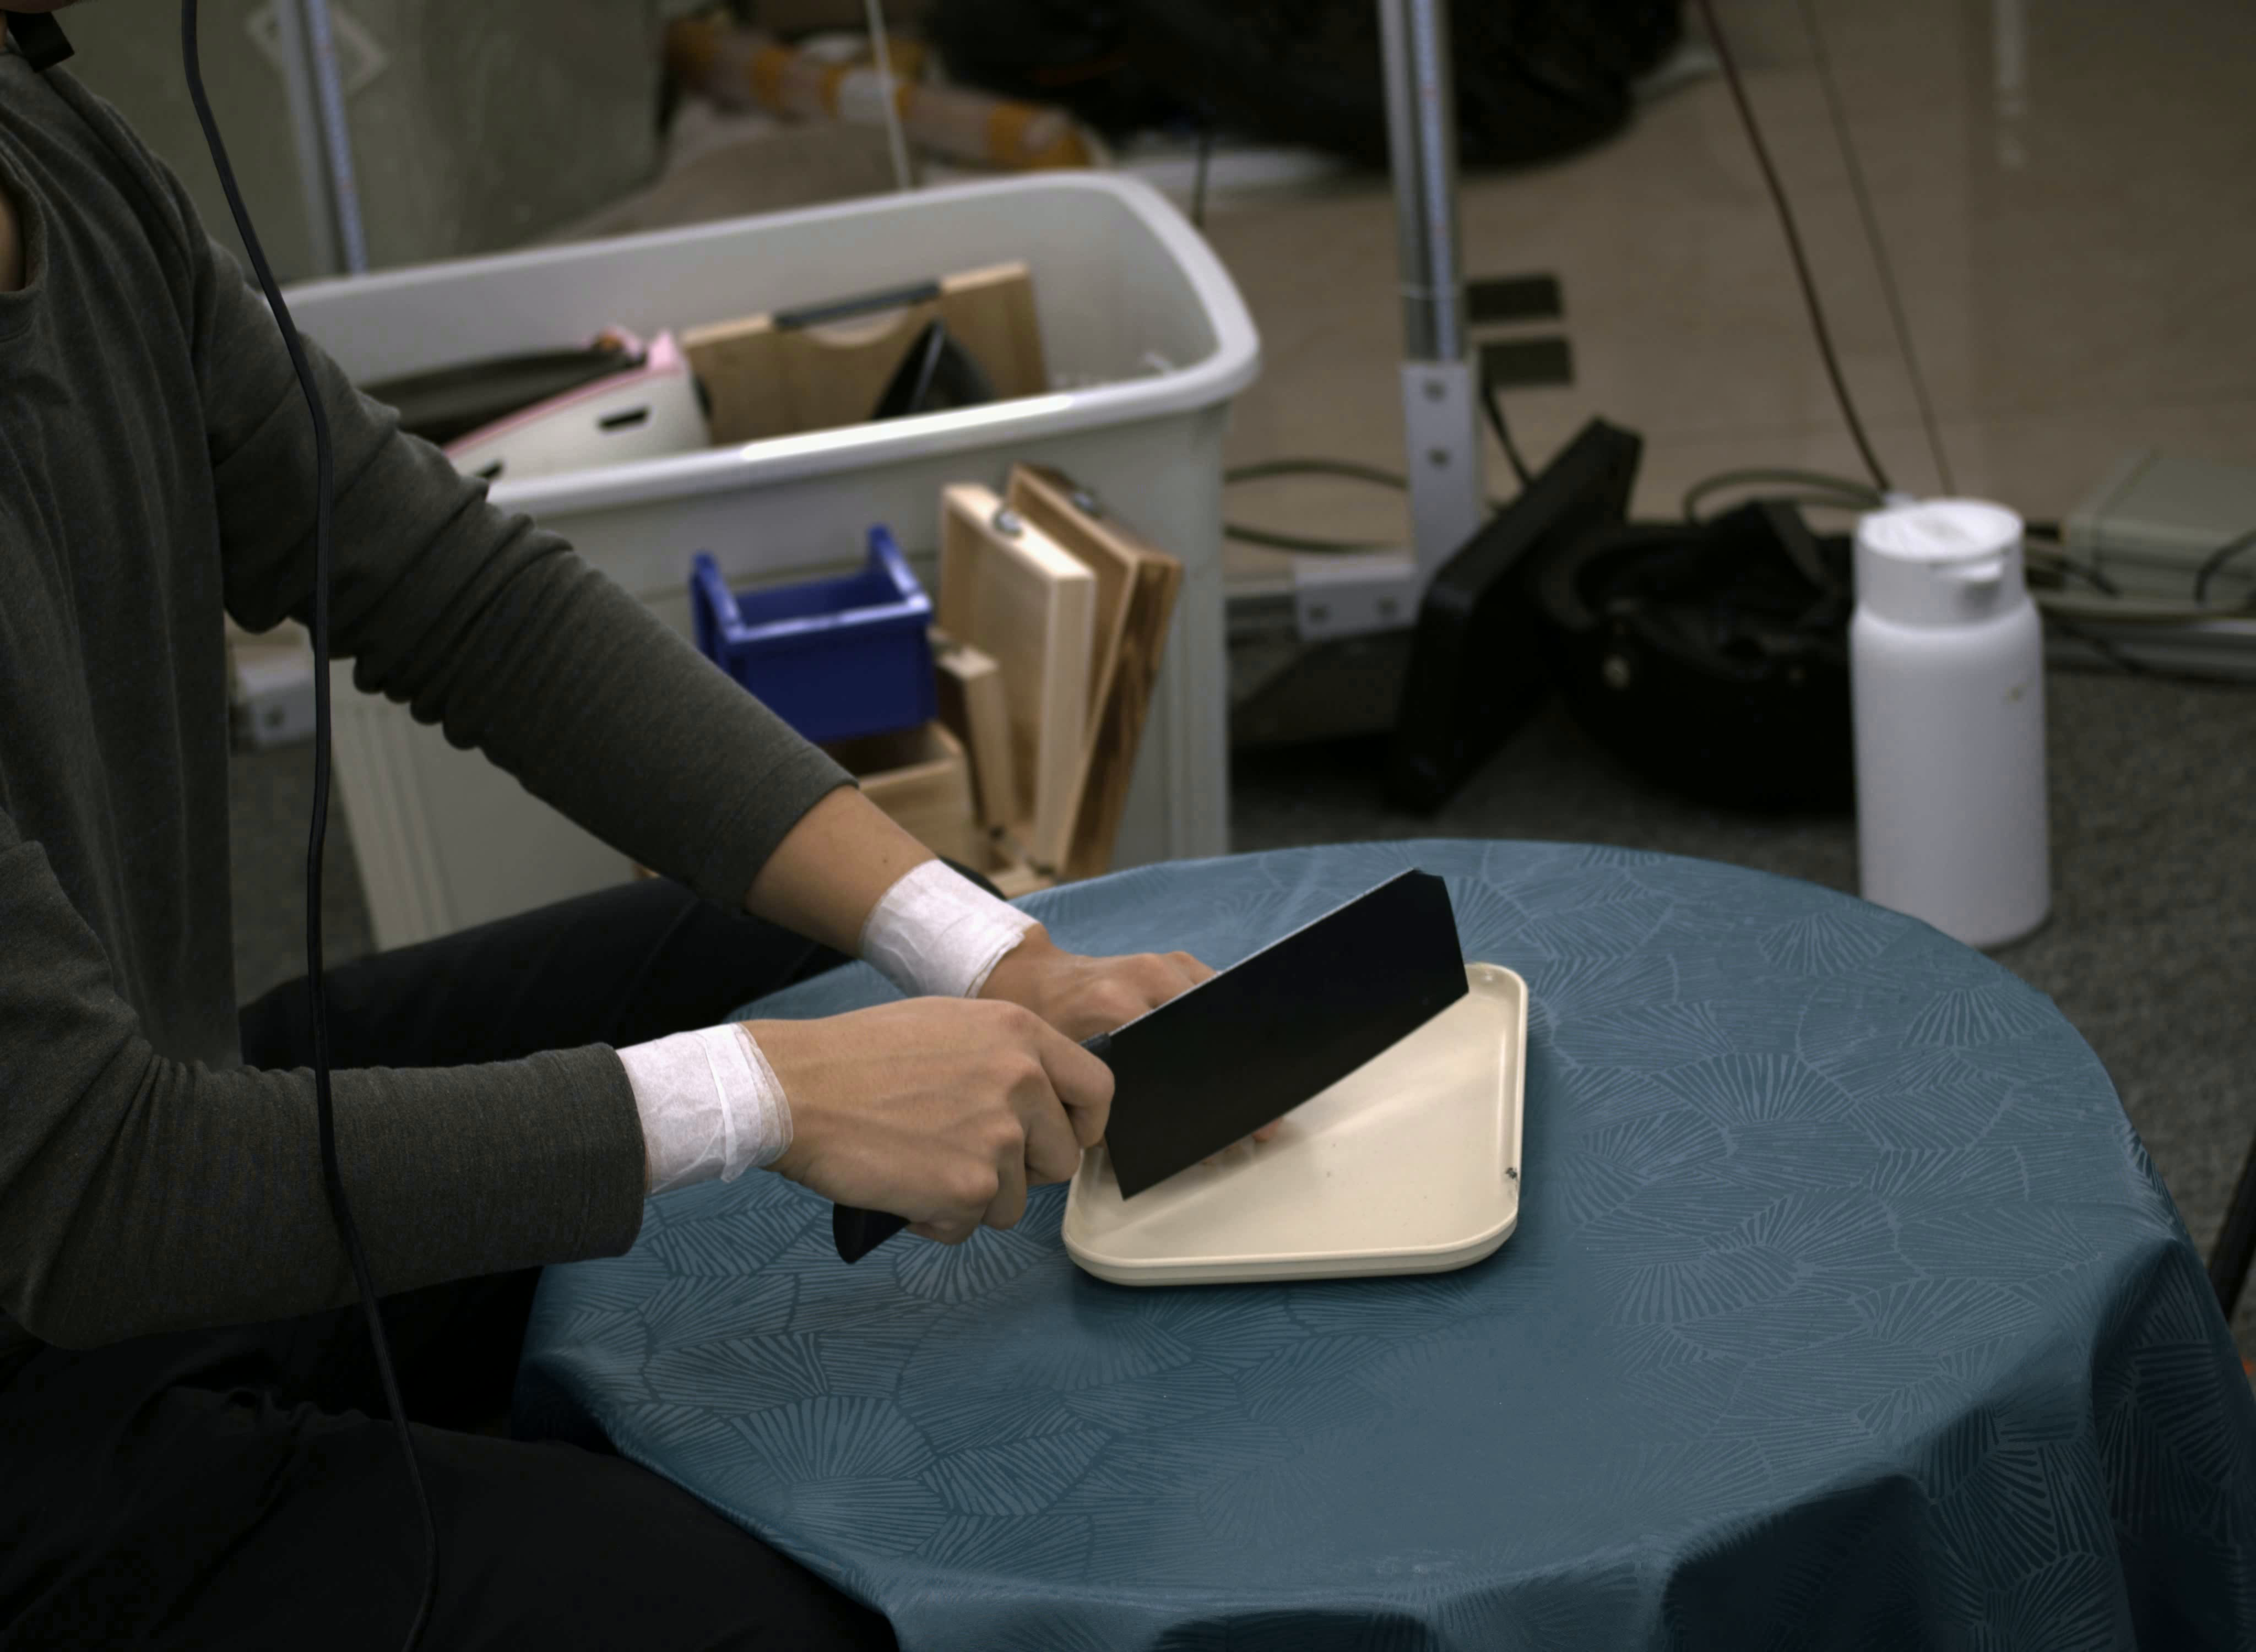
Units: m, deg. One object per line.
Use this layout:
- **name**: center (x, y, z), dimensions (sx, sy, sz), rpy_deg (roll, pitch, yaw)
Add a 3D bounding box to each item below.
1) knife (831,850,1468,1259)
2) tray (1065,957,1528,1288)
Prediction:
- **knife**: center (0.012, 0.093, 2.117), dimensions (0.300, 0.082, 0.021), rpy_deg (-23, 24, -32)
- **tray**: center (0.068, 0.113, 2.170), dimensions (0.171, 0.018, 0.236), rpy_deg (-4, 25, 7)
